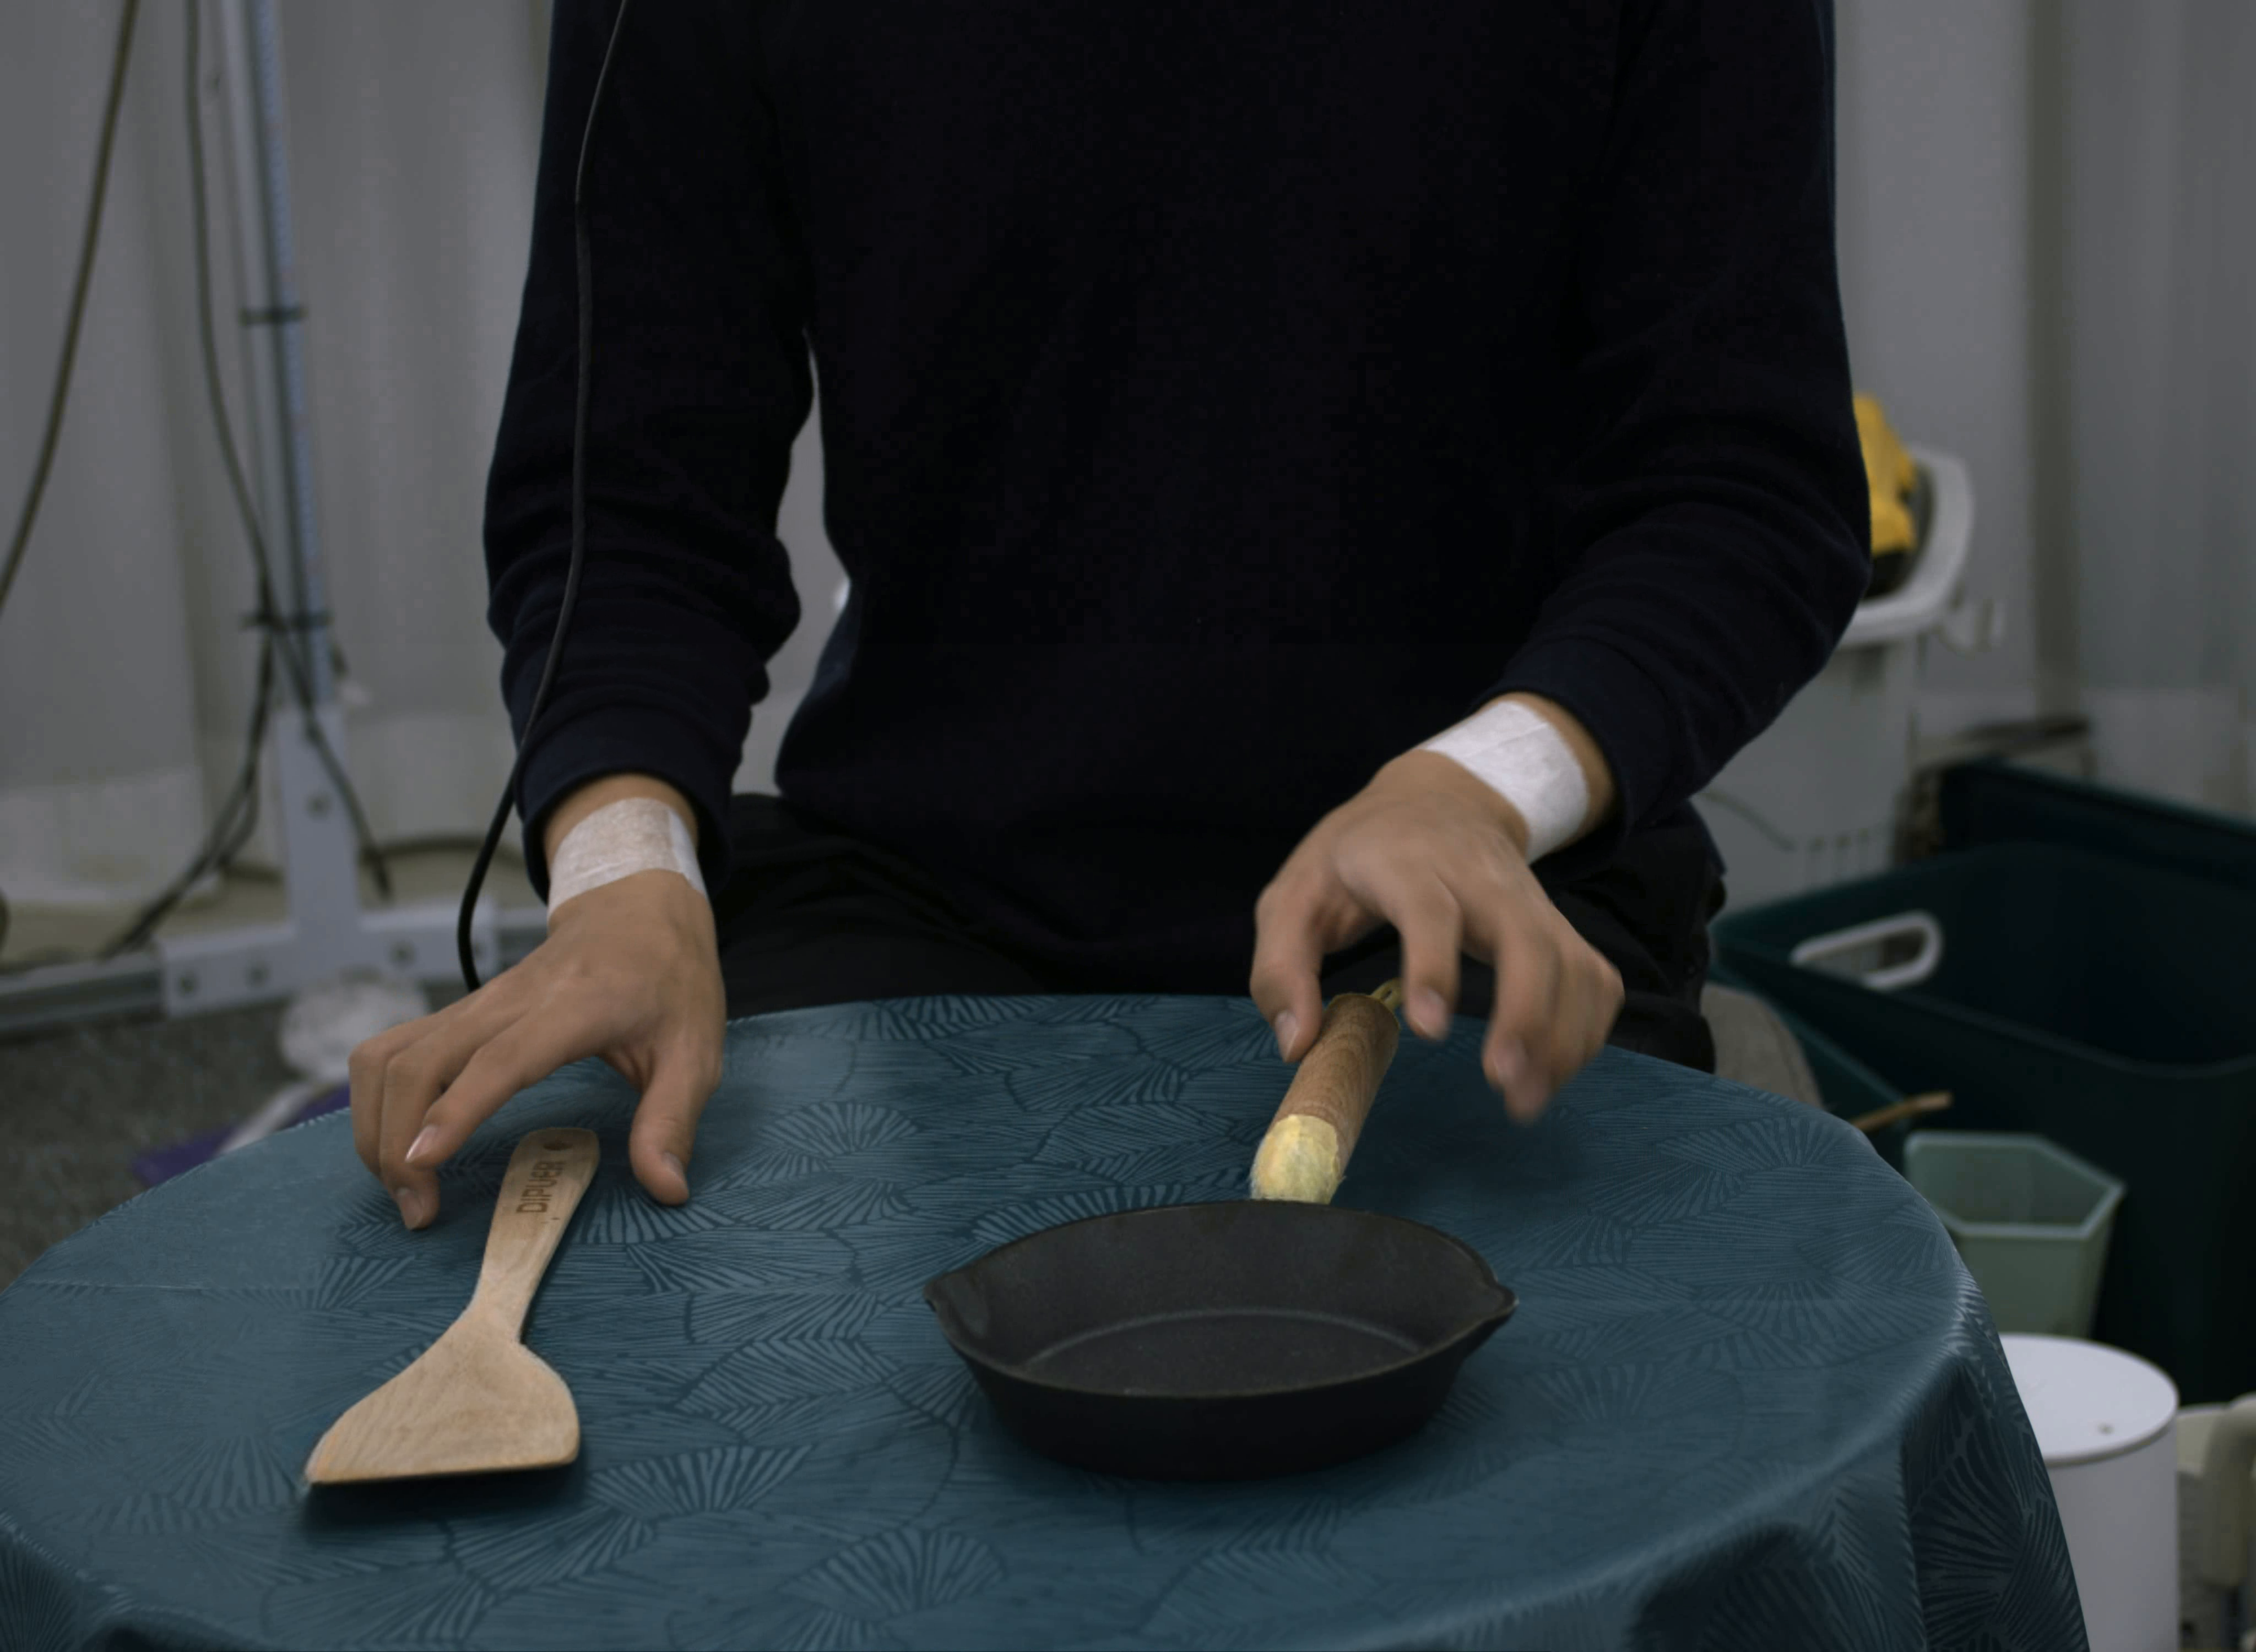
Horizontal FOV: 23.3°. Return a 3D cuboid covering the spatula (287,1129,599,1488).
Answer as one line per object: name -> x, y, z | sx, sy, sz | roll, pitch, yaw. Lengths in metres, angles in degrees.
spatula -> -0.186, 0.140, 1.627 | 0.080, 0.016, 0.330 | -2, 15, 1

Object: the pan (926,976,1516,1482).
pan -> 0.046, 0.115, 1.608 | 0.169, 0.049, 0.326 | 1, 17, 15
